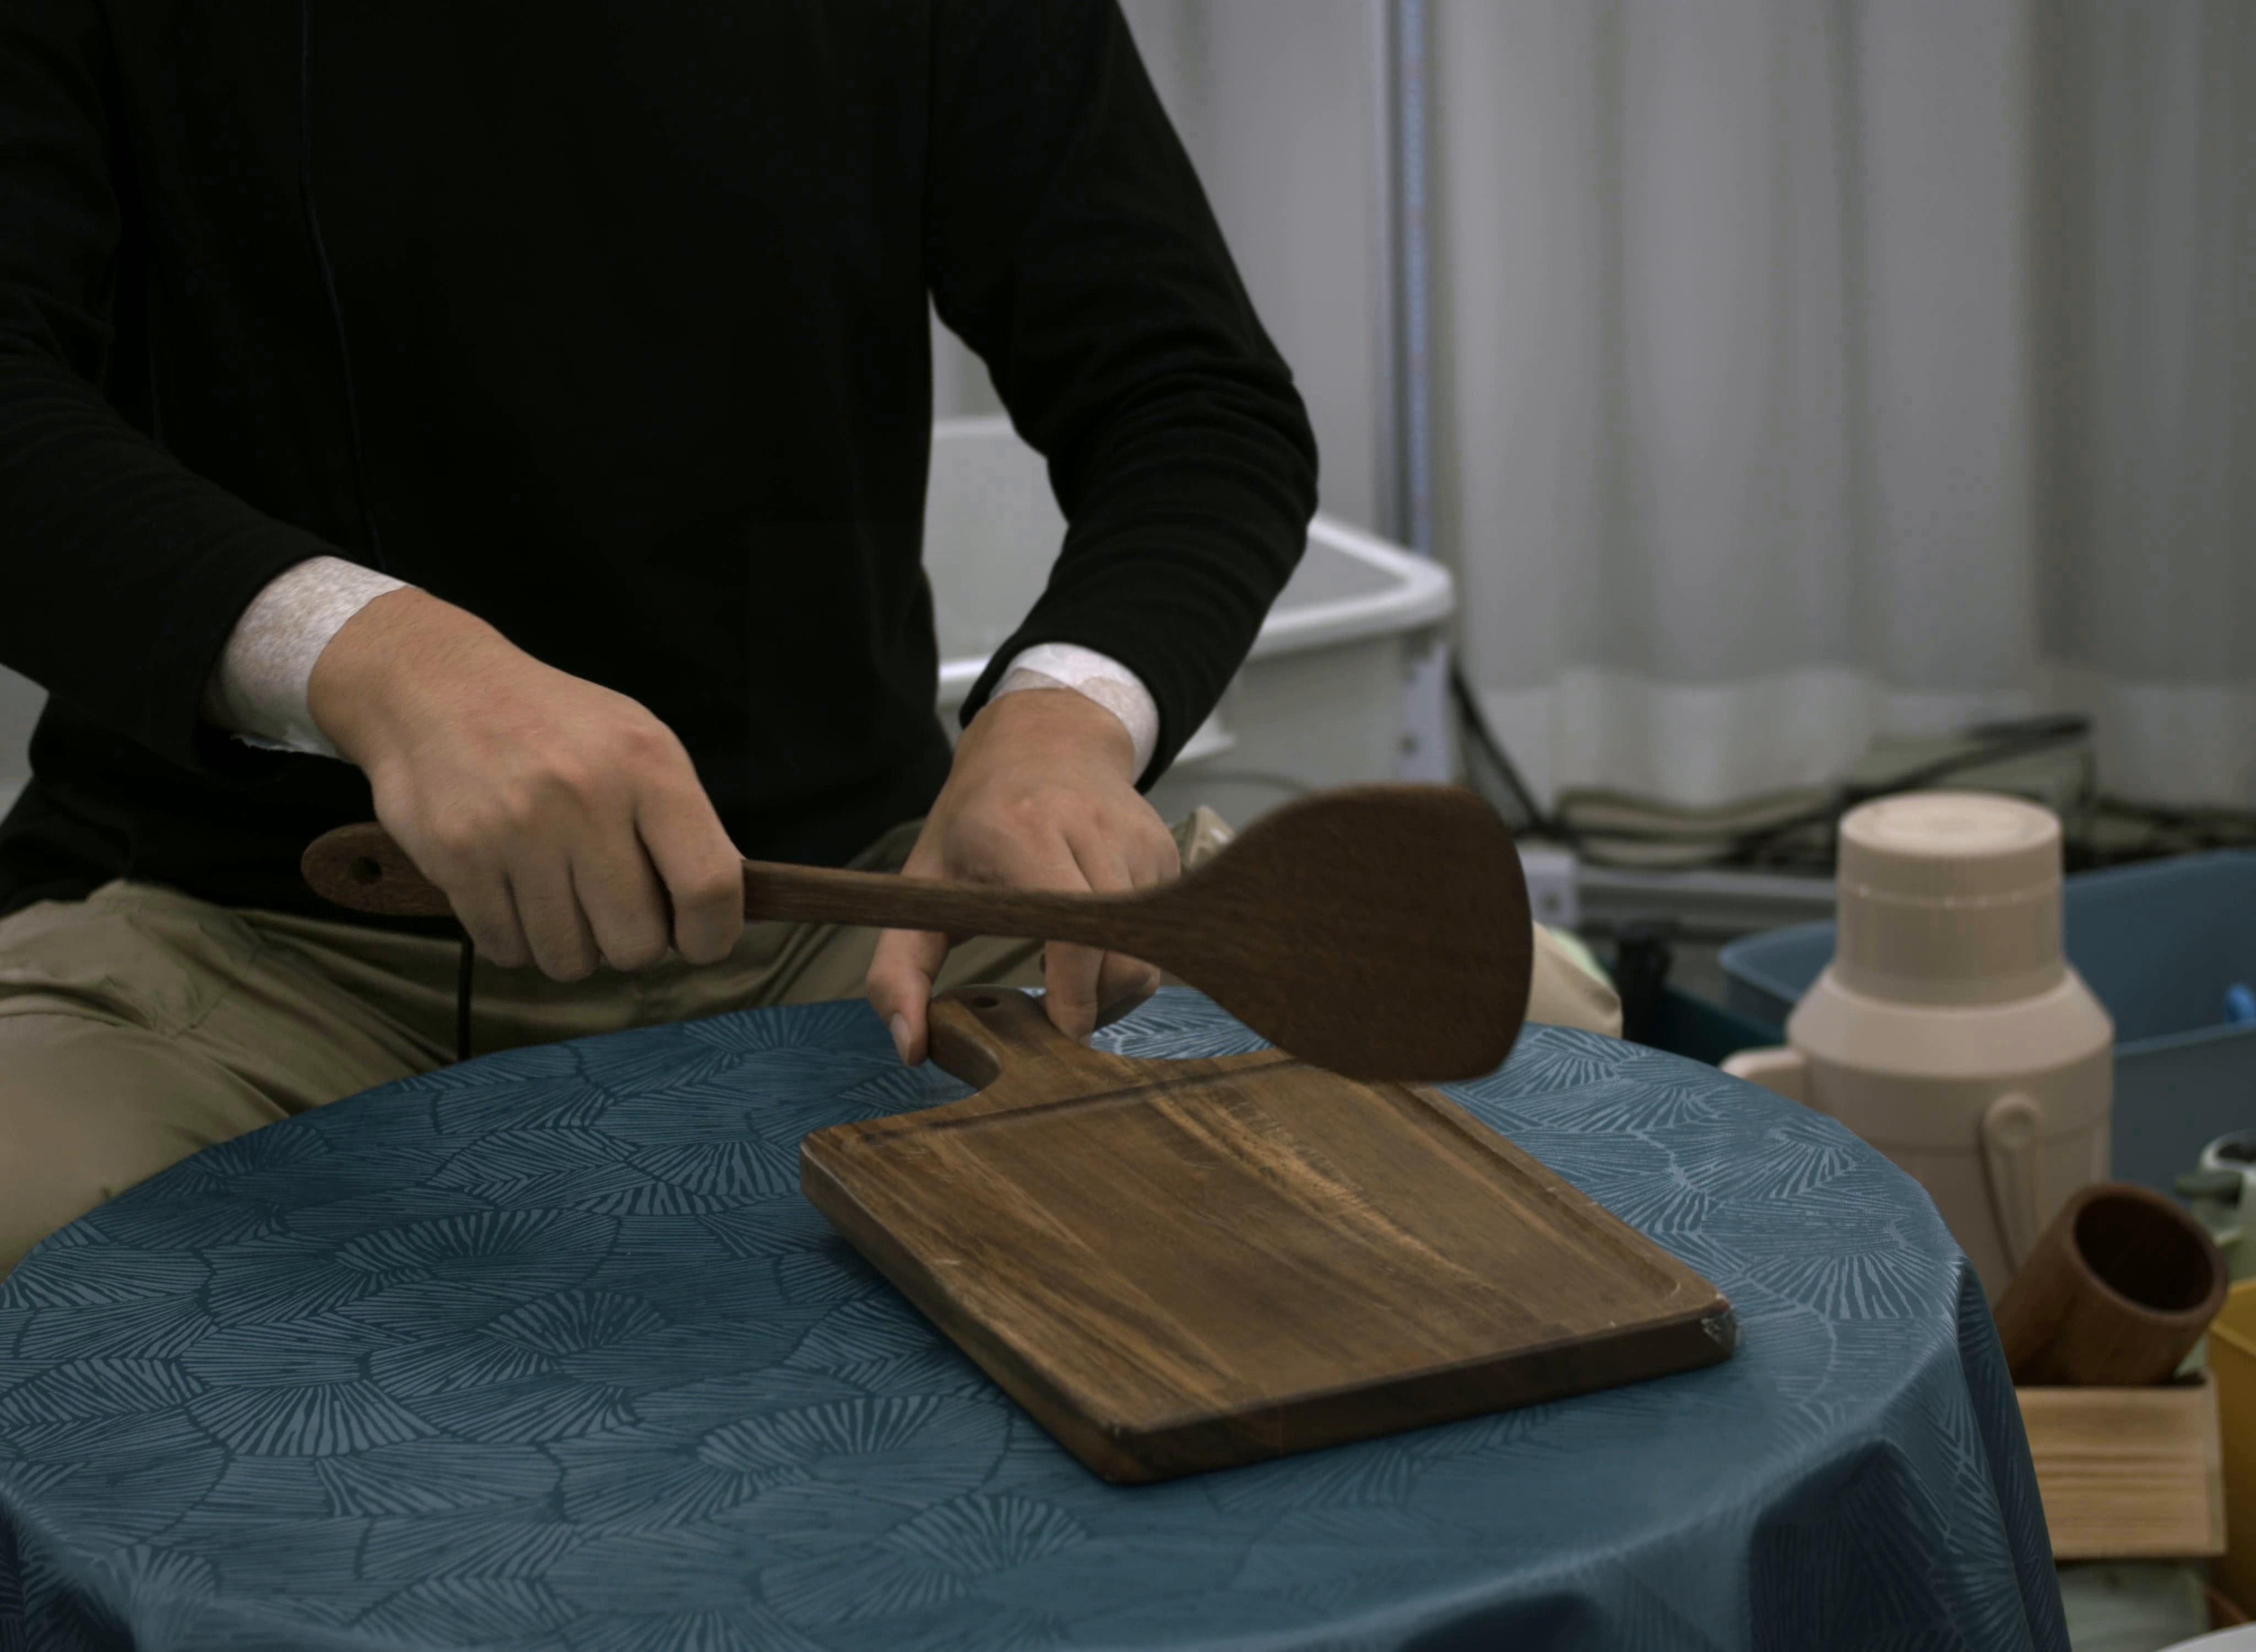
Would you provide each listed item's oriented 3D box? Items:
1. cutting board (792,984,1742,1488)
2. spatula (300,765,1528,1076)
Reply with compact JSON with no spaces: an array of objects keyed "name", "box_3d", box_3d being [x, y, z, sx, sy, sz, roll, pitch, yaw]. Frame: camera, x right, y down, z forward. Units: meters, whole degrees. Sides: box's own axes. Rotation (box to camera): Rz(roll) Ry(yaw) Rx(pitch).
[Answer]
[{"name":"cutting board","box_3d":[0.015,0.109,1.655,0.200,0.023,0.355,-9,19,-22]},{"name":"spatula","box_3d":[-0.069,0.019,1.624,0.386,0.095,0.016,4,21,18]}]
